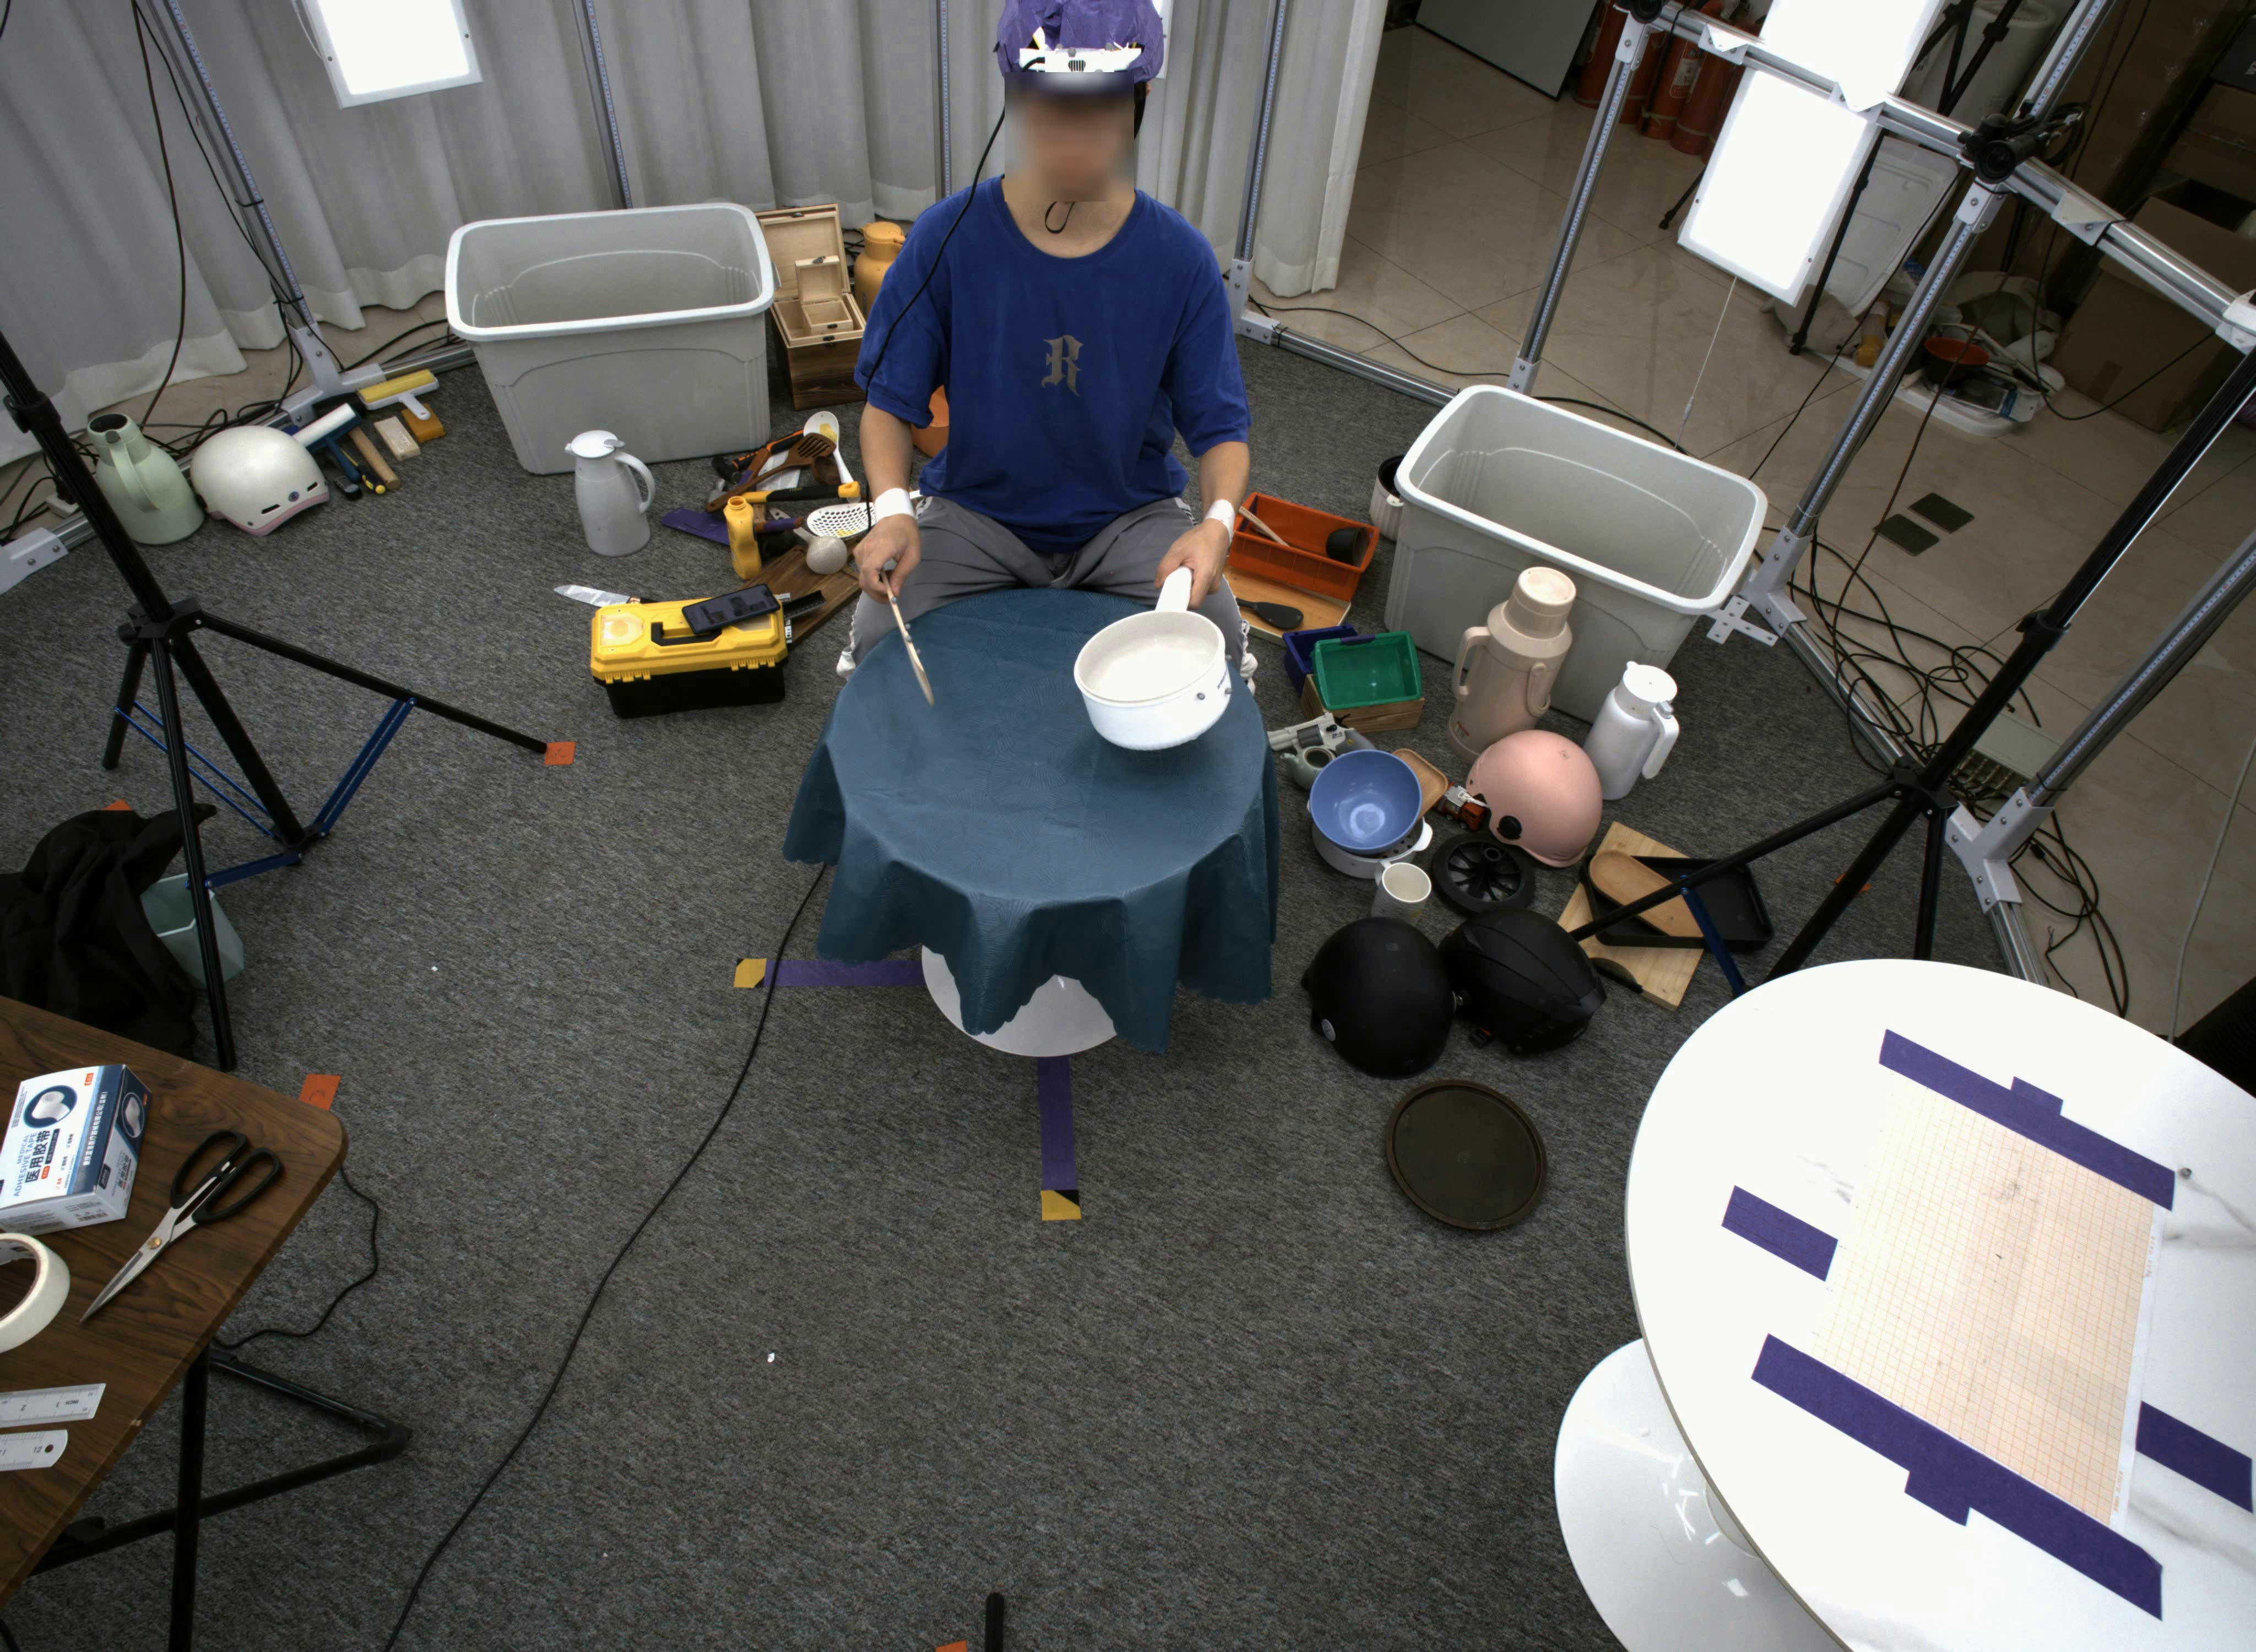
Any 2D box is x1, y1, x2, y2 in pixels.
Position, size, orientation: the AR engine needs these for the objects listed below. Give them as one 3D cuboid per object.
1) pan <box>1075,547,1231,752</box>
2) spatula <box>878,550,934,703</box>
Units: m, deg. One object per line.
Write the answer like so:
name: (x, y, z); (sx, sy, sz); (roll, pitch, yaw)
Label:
pan: (0.055, -0.243, 1.762); (0.201, 0.099, 0.363); (-3, 43, 20)
spatula: (-0.310, -0.286, 1.773); (0.010, 0.070, 0.300); (-21, 51, -3)
